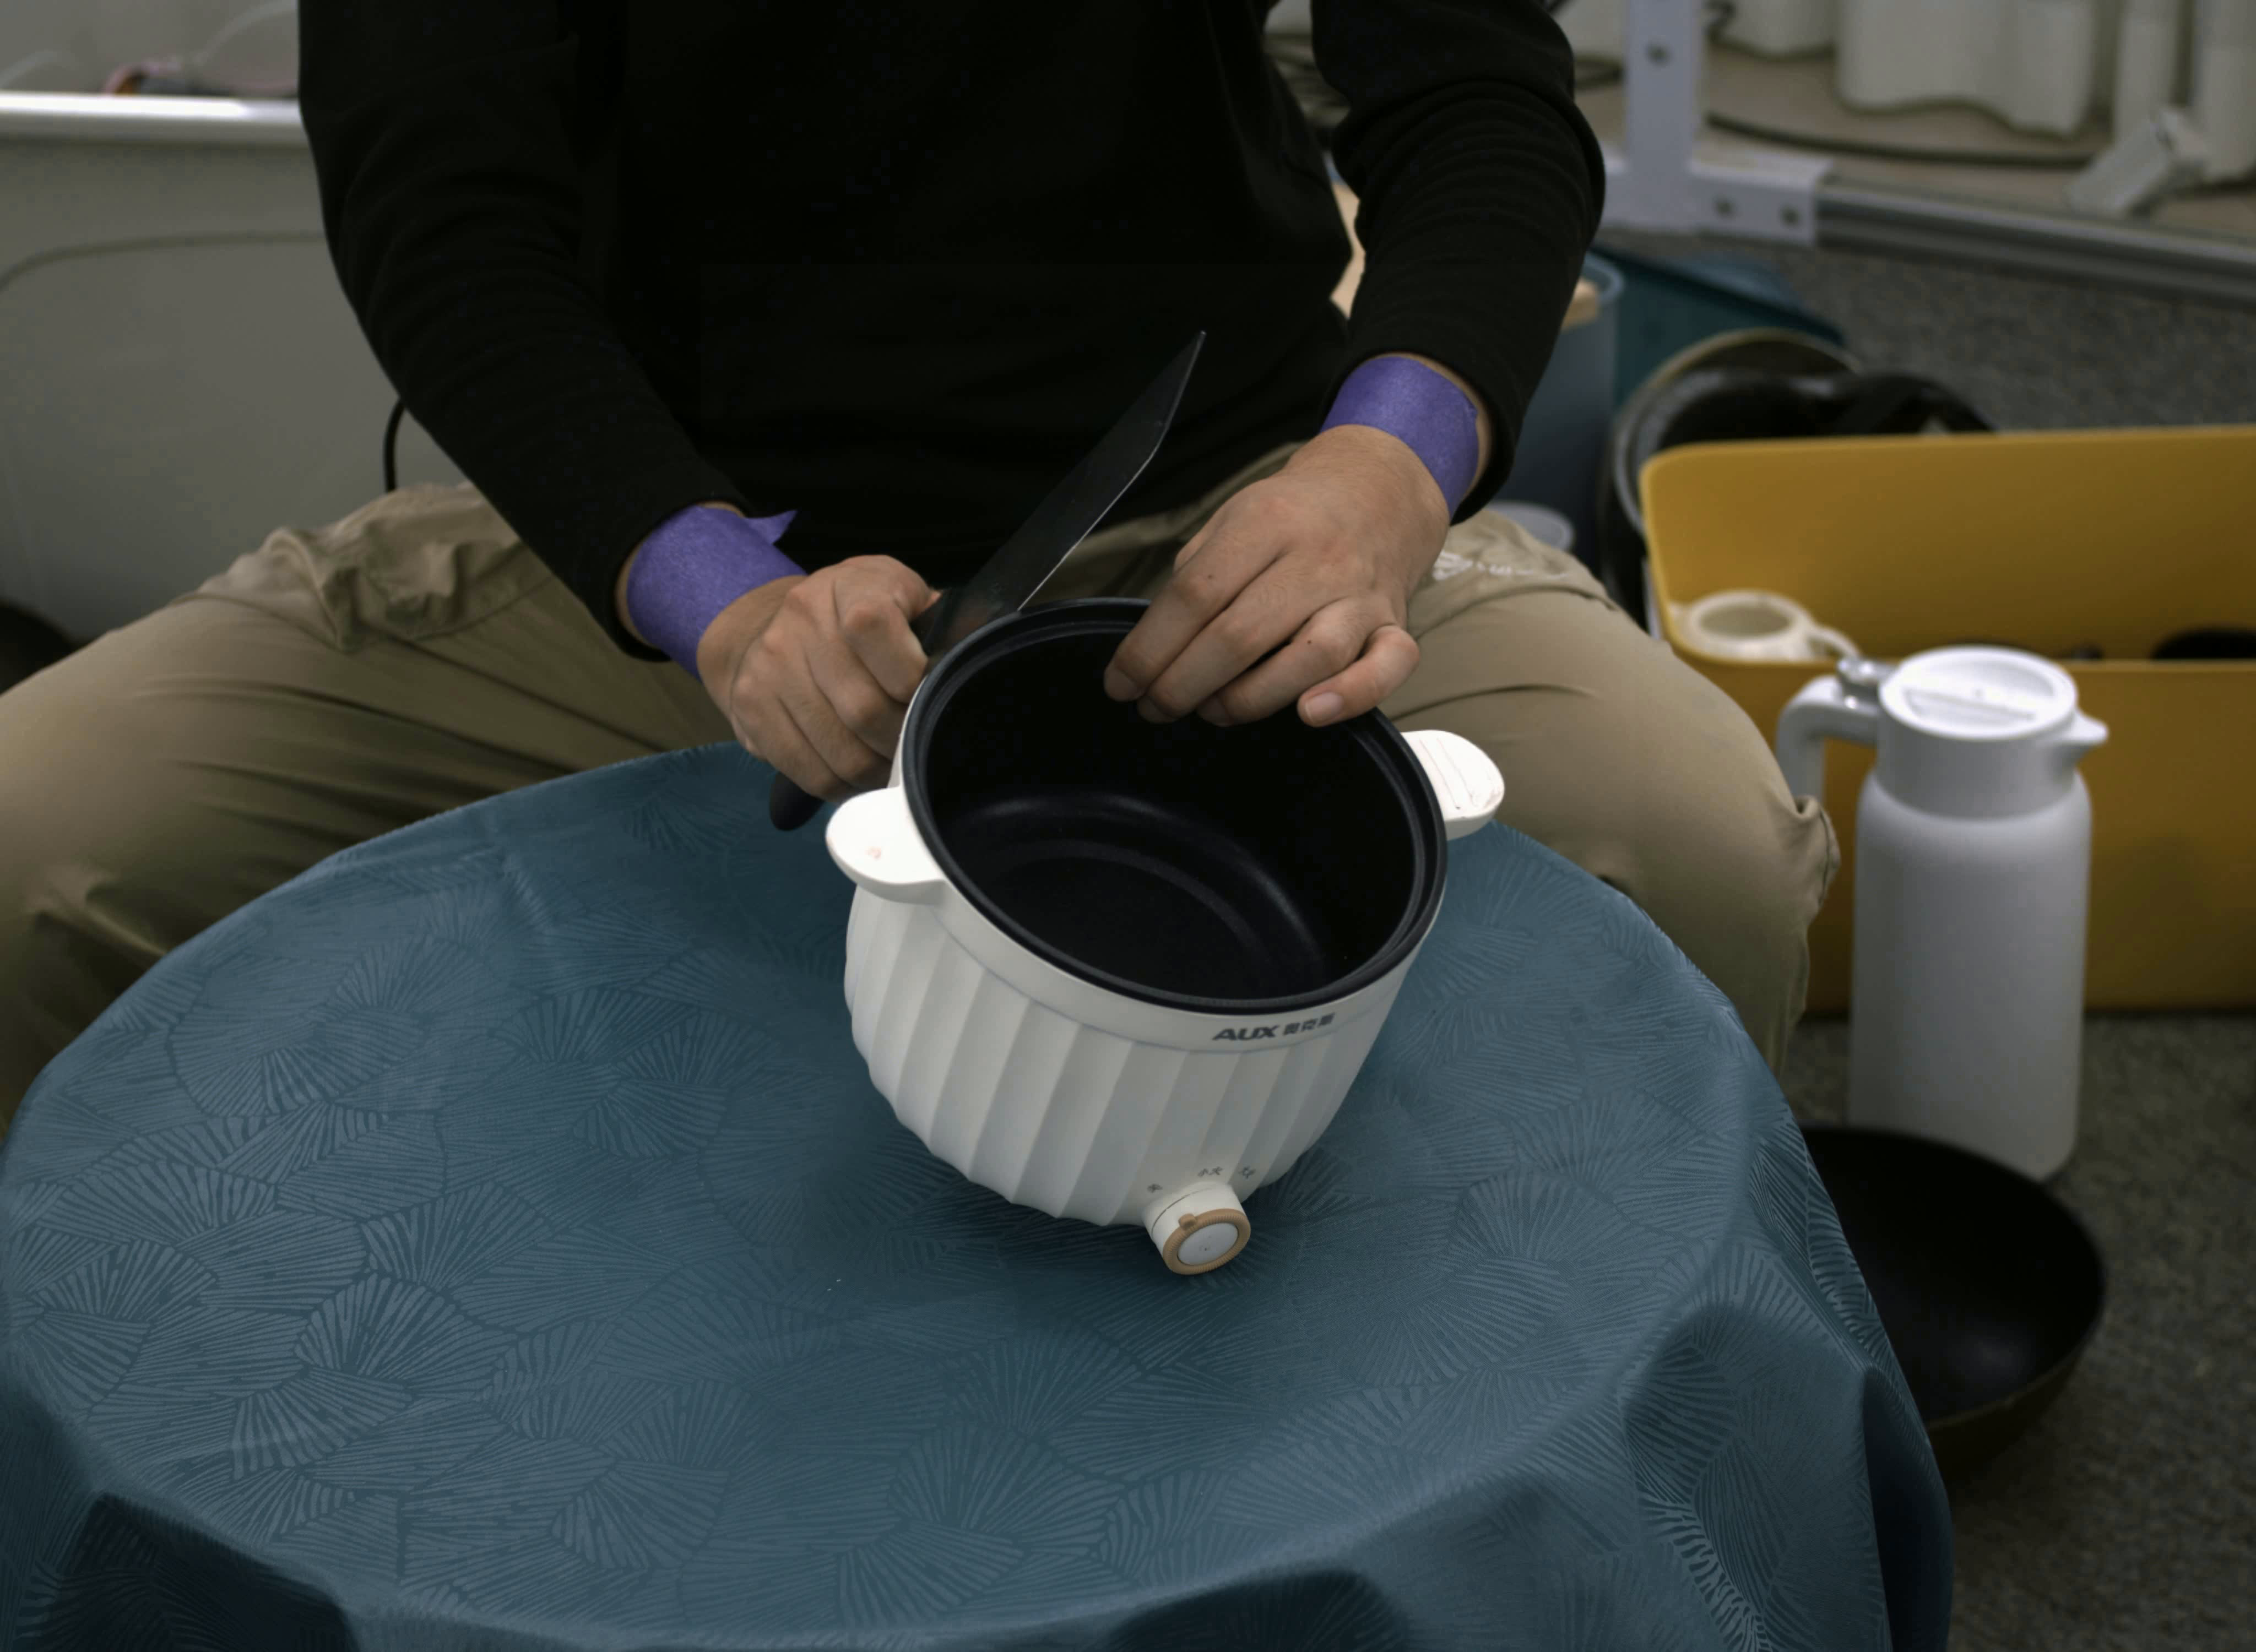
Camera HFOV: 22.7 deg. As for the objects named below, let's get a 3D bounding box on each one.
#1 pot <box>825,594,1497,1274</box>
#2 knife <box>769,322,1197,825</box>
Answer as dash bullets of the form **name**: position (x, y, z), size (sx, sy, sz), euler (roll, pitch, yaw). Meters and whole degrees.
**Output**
- **pot**: position (0.002, 0.039, 1.835), size (0.241, 0.140, 0.193), euler (-7, 45, -26)
- **knife**: position (-0.054, -0.073, 1.908), size (0.021, 0.297, 0.082), euler (31, 53, -12)
